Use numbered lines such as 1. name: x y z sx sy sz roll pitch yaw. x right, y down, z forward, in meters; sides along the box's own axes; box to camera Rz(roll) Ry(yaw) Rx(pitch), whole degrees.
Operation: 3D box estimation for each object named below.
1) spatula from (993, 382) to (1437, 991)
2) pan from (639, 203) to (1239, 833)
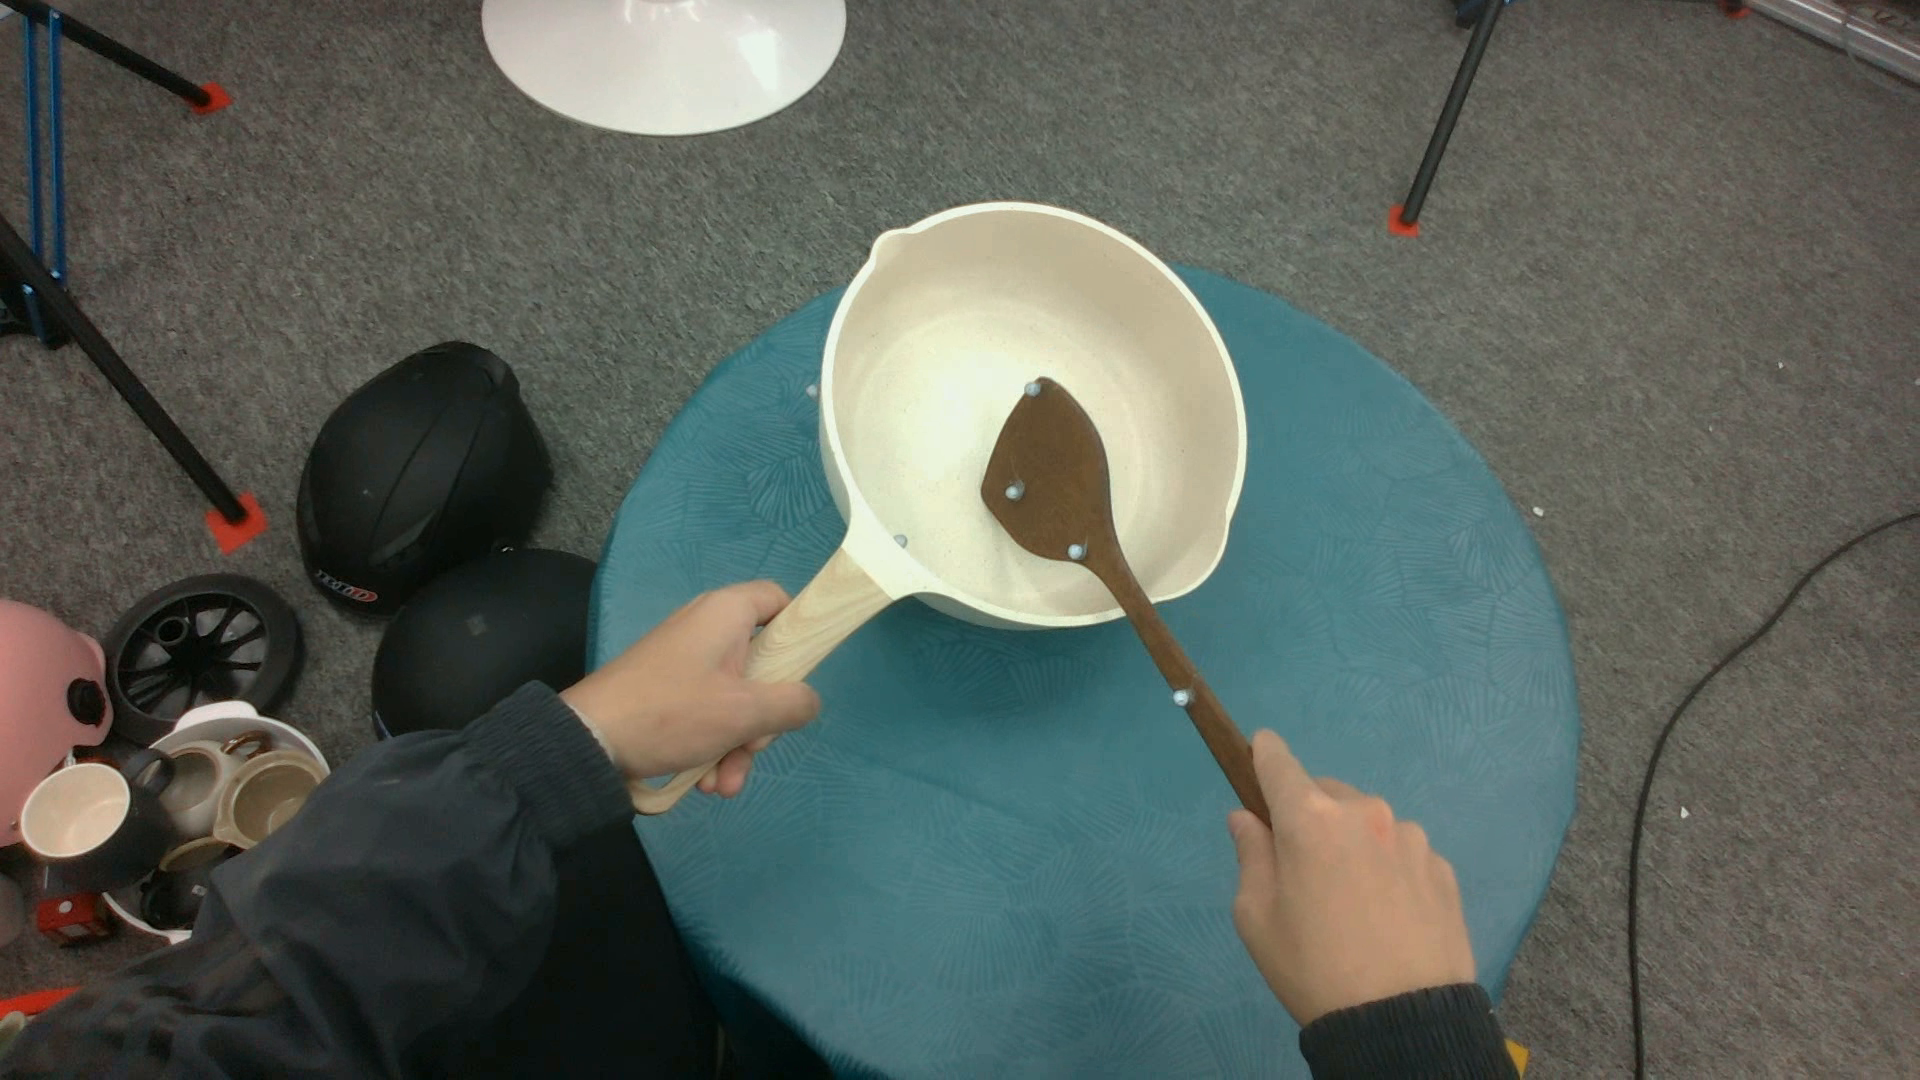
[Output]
1. spatula: 0.115 0.061 0.700 0.016 0.095 0.387 -1 42 -33
2. pan: -0.023 -0.006 0.766 0.263 0.101 0.436 44 66 -2
